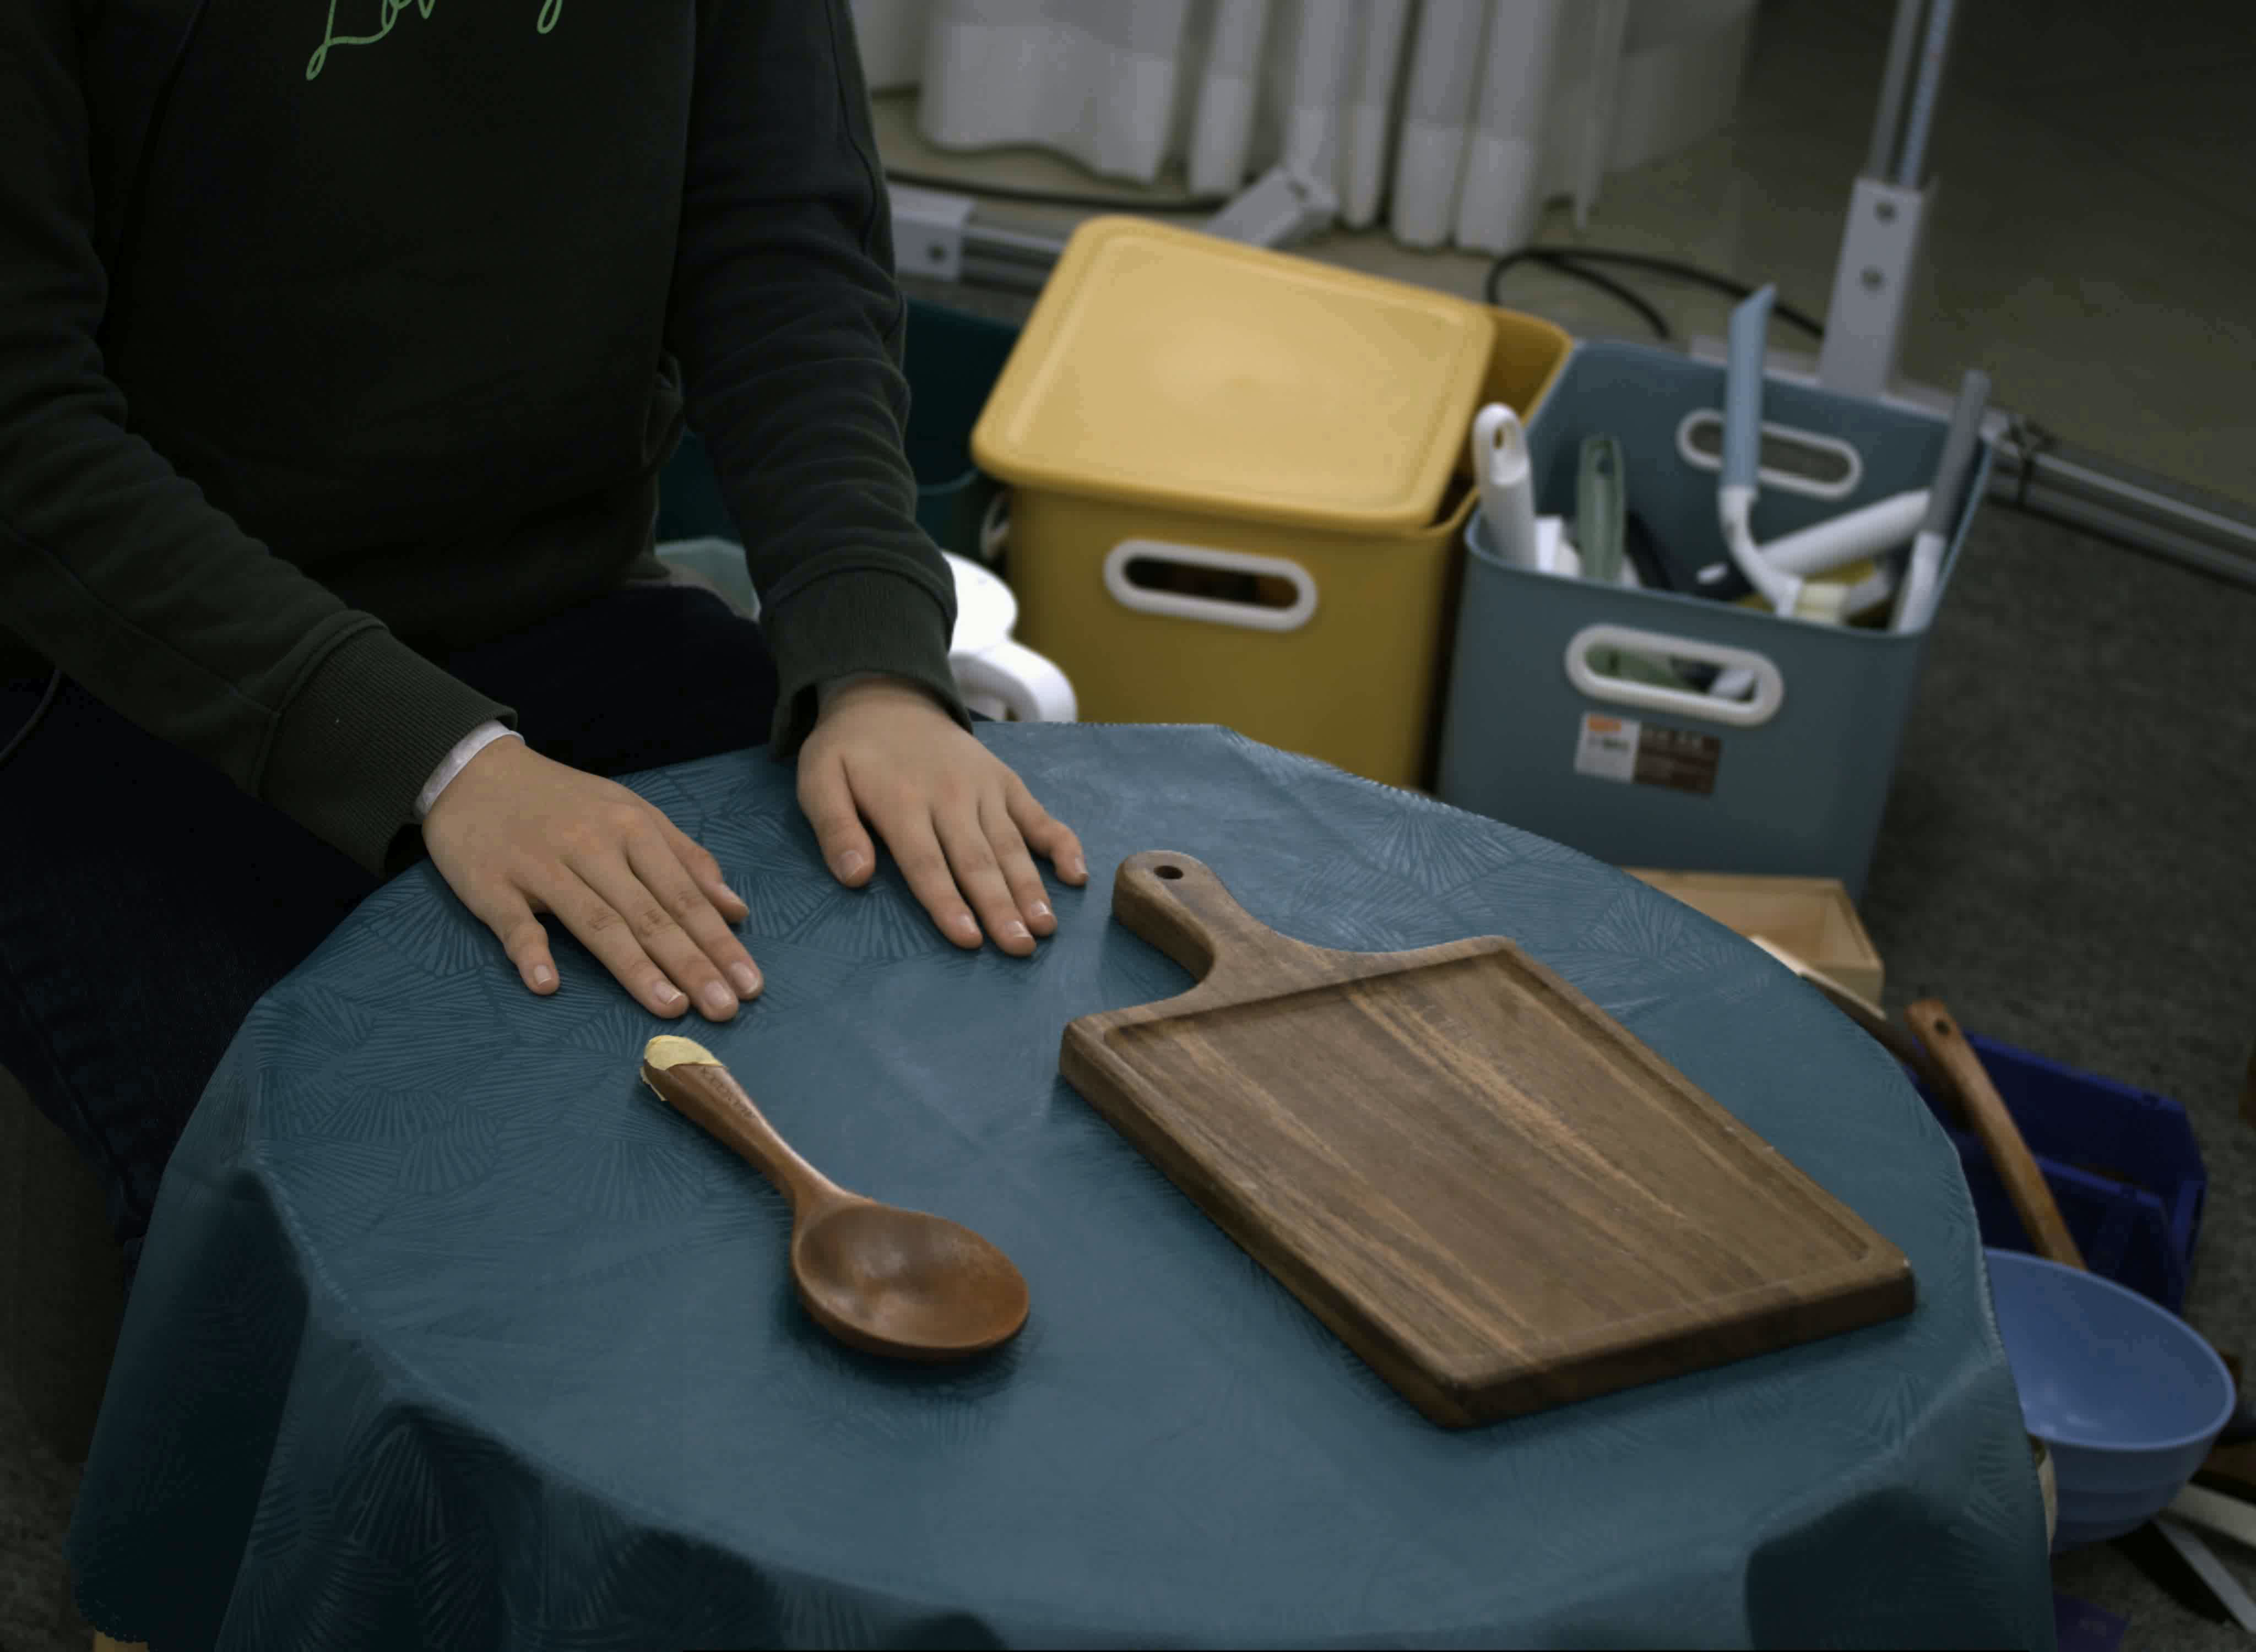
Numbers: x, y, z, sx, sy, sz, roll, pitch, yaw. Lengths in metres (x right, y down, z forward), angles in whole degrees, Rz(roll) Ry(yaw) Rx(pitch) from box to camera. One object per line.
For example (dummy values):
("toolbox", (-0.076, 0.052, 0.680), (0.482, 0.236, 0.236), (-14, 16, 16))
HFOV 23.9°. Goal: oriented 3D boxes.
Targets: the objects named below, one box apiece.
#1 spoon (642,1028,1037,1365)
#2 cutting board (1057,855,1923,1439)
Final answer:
("spoon", (-0.103, 0.123, 1.759), (0.075, 0.017, 0.218), (-13, 33, -30))
("cutting board", (0.095, 0.096, 1.857), (0.200, 0.023, 0.355), (-11, 31, -29))
